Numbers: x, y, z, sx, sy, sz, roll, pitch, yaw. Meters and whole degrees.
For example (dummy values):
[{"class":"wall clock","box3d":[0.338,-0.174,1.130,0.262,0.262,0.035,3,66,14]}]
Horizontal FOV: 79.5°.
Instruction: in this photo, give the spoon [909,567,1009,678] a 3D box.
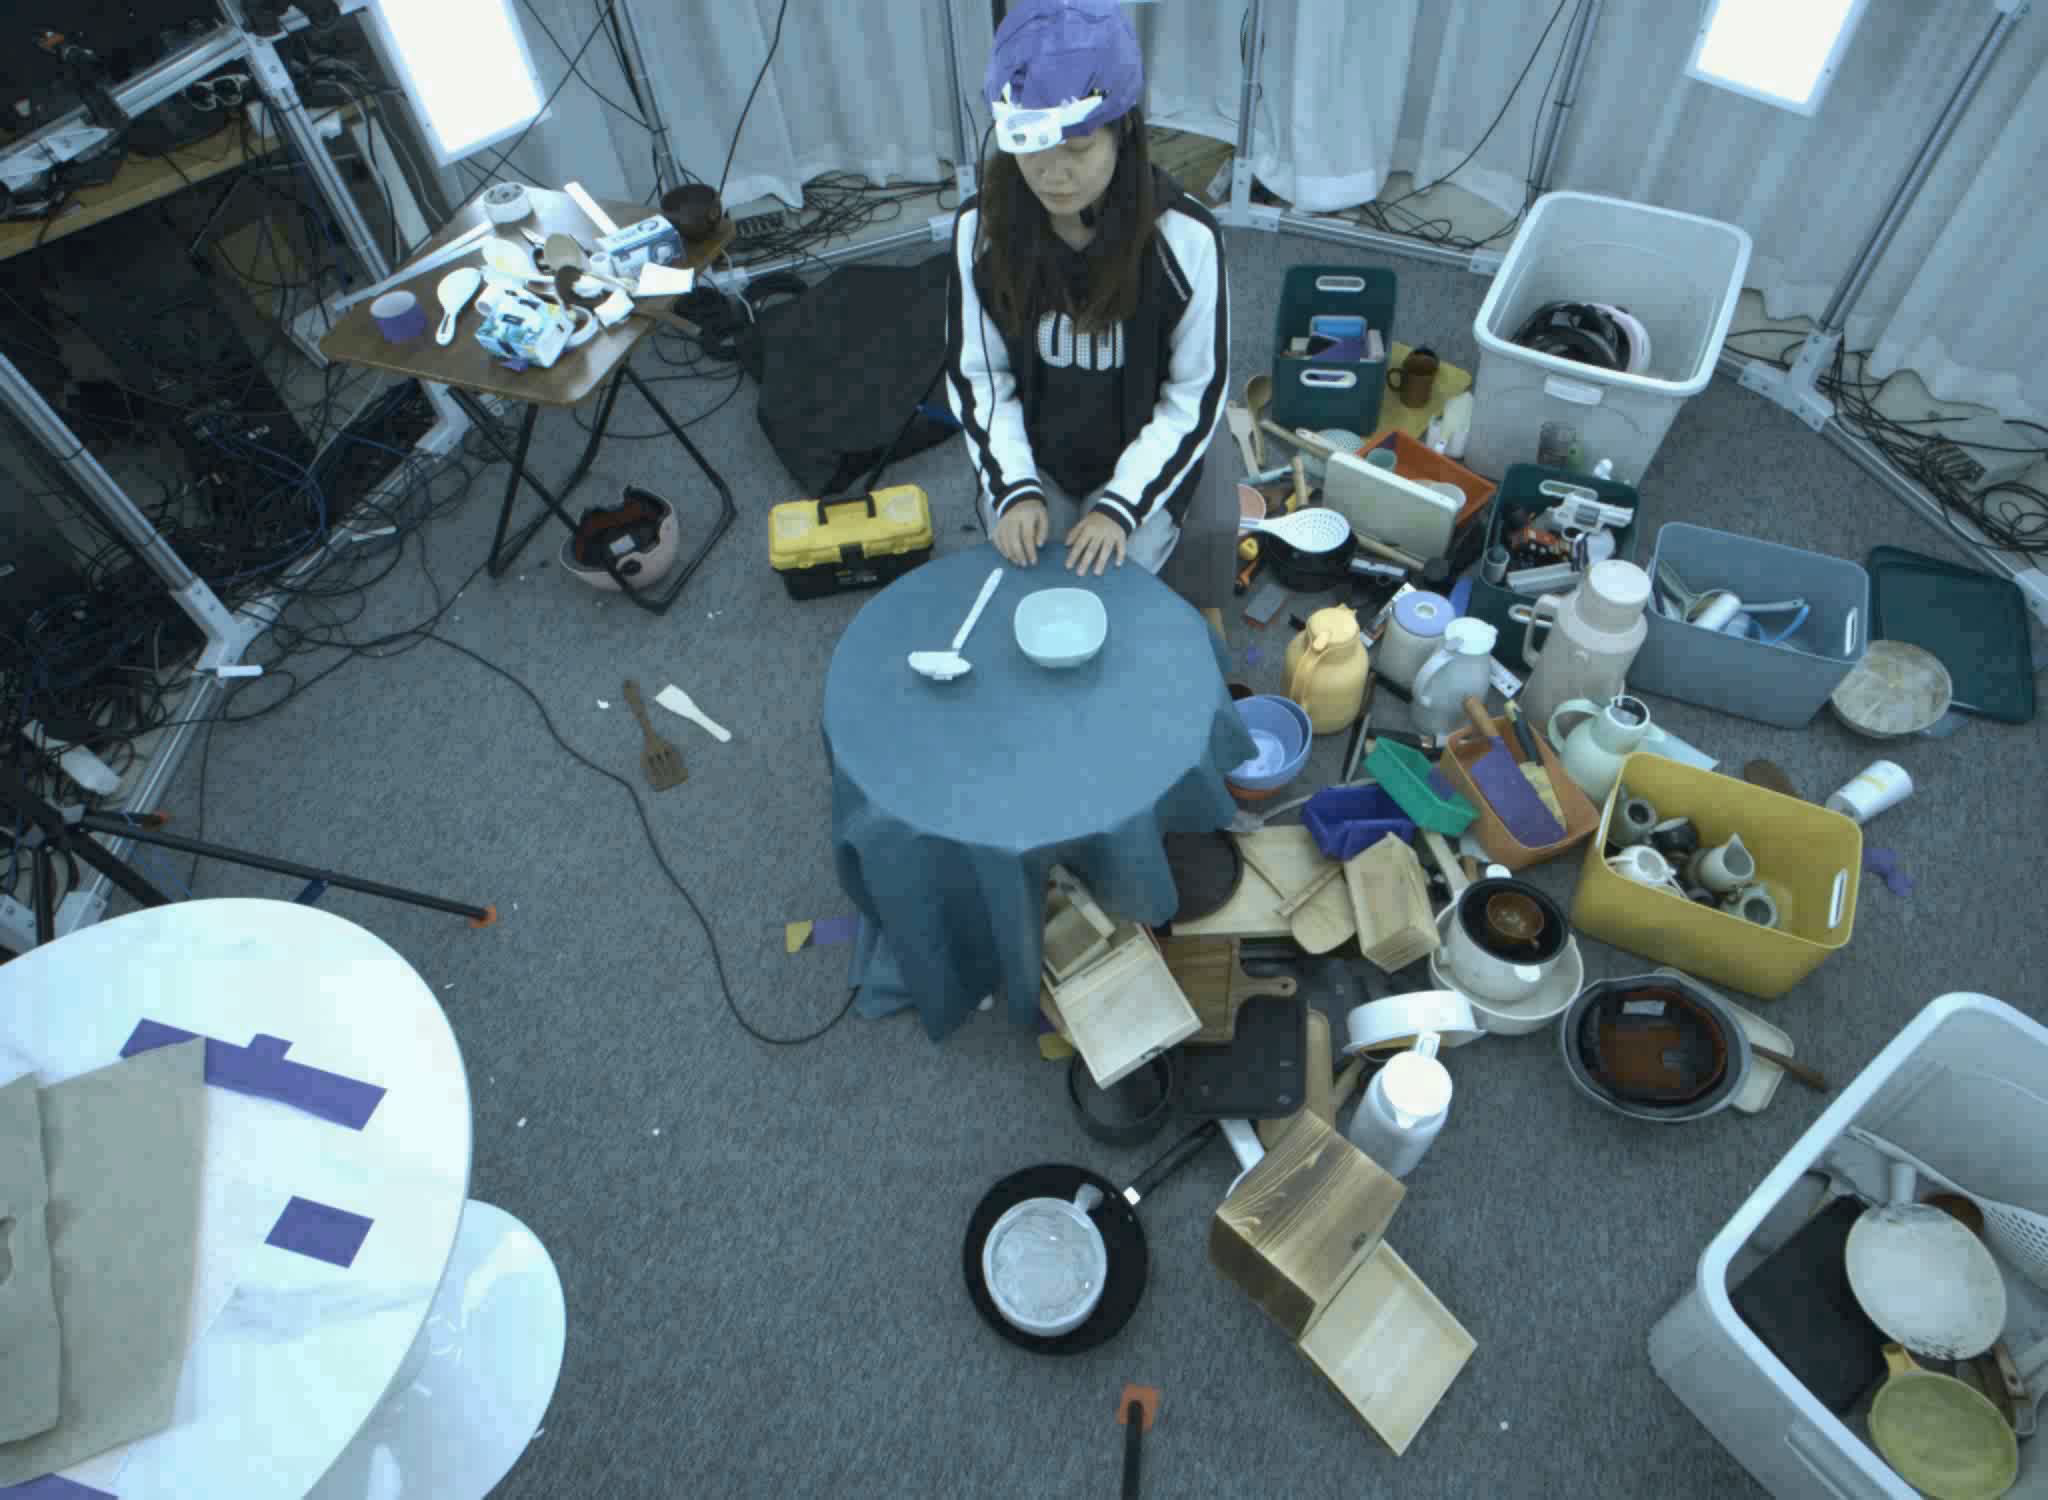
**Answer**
[{"class":"spoon","box3d":[-0.083,-0.206,1.901,0.100,0.060,0.277,22,59,11]}]

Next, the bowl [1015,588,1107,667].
[{"class":"bowl","box3d":[0.057,-0.177,1.879,0.151,0.059,0.150,-1,55,2]}]
